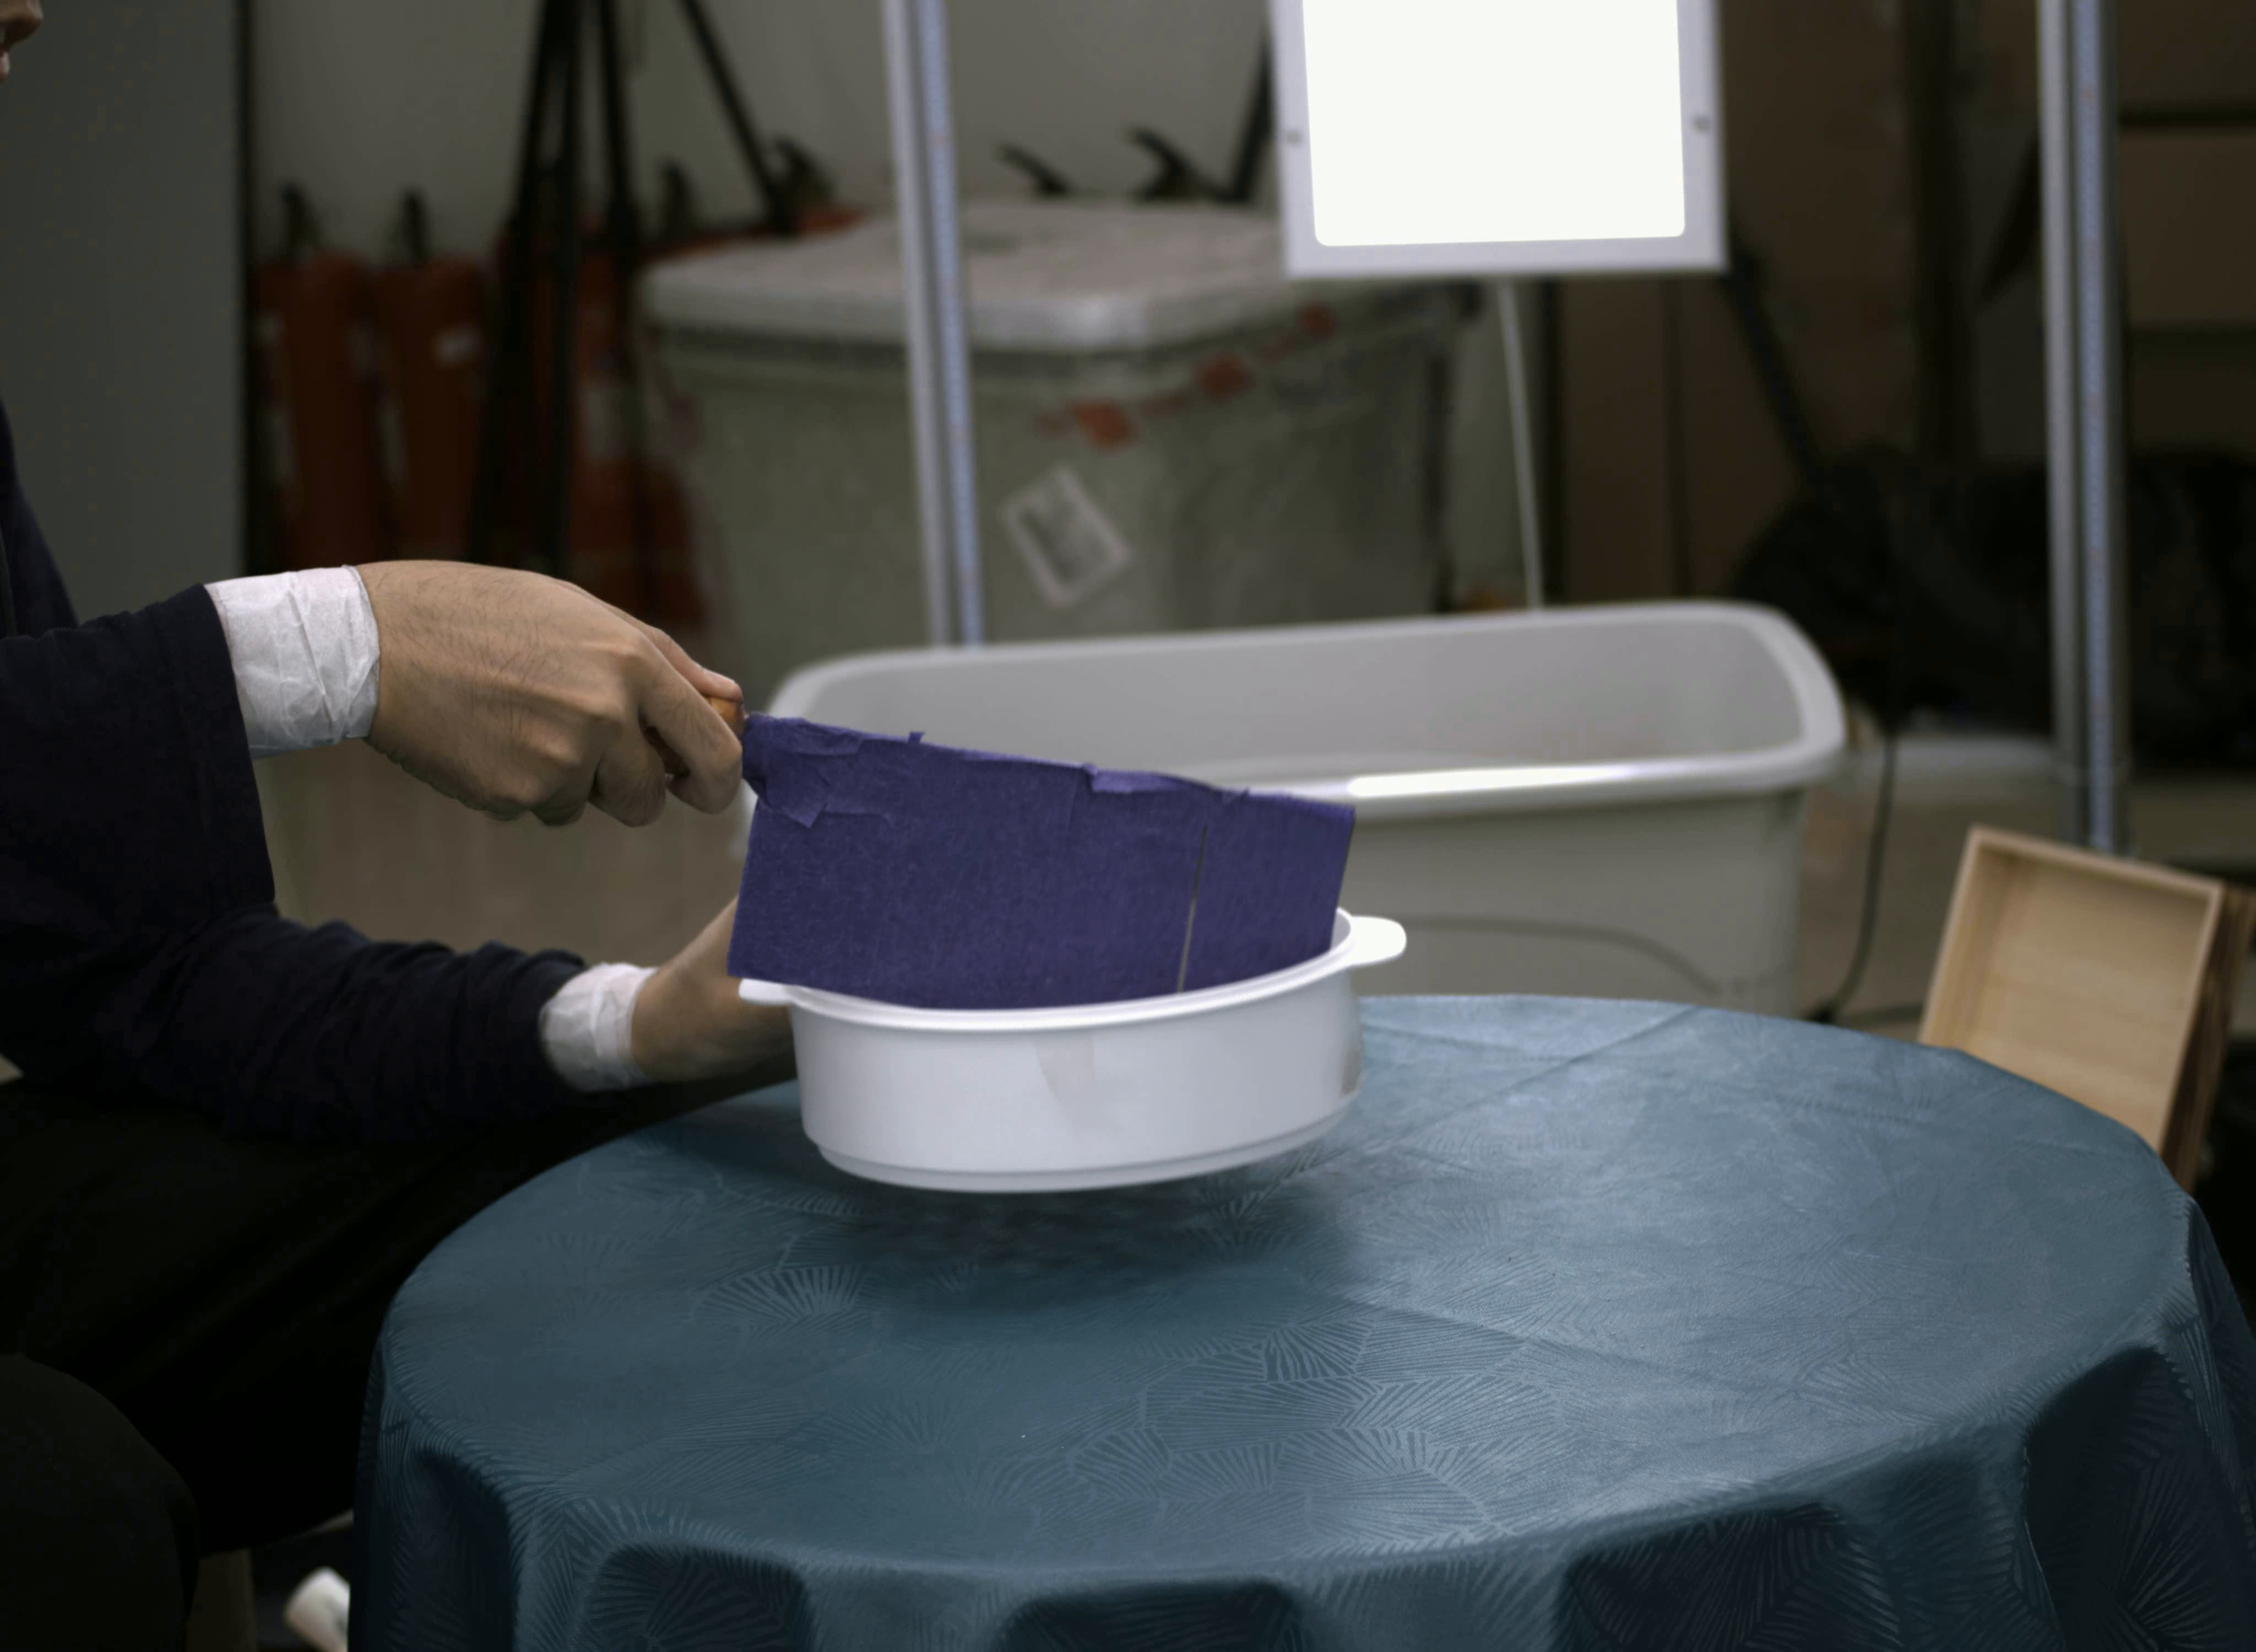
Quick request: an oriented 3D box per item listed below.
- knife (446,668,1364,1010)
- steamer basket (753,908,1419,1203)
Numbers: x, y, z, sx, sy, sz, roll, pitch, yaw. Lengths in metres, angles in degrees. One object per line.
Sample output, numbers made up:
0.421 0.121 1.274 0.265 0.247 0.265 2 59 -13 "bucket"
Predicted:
-0.076 0.015 1.840 0.312 0.104 0.032 9 7 -10 "knife"
-0.011 0.077 1.887 0.231 0.069 0.201 -7 10 5 "steamer basket"
